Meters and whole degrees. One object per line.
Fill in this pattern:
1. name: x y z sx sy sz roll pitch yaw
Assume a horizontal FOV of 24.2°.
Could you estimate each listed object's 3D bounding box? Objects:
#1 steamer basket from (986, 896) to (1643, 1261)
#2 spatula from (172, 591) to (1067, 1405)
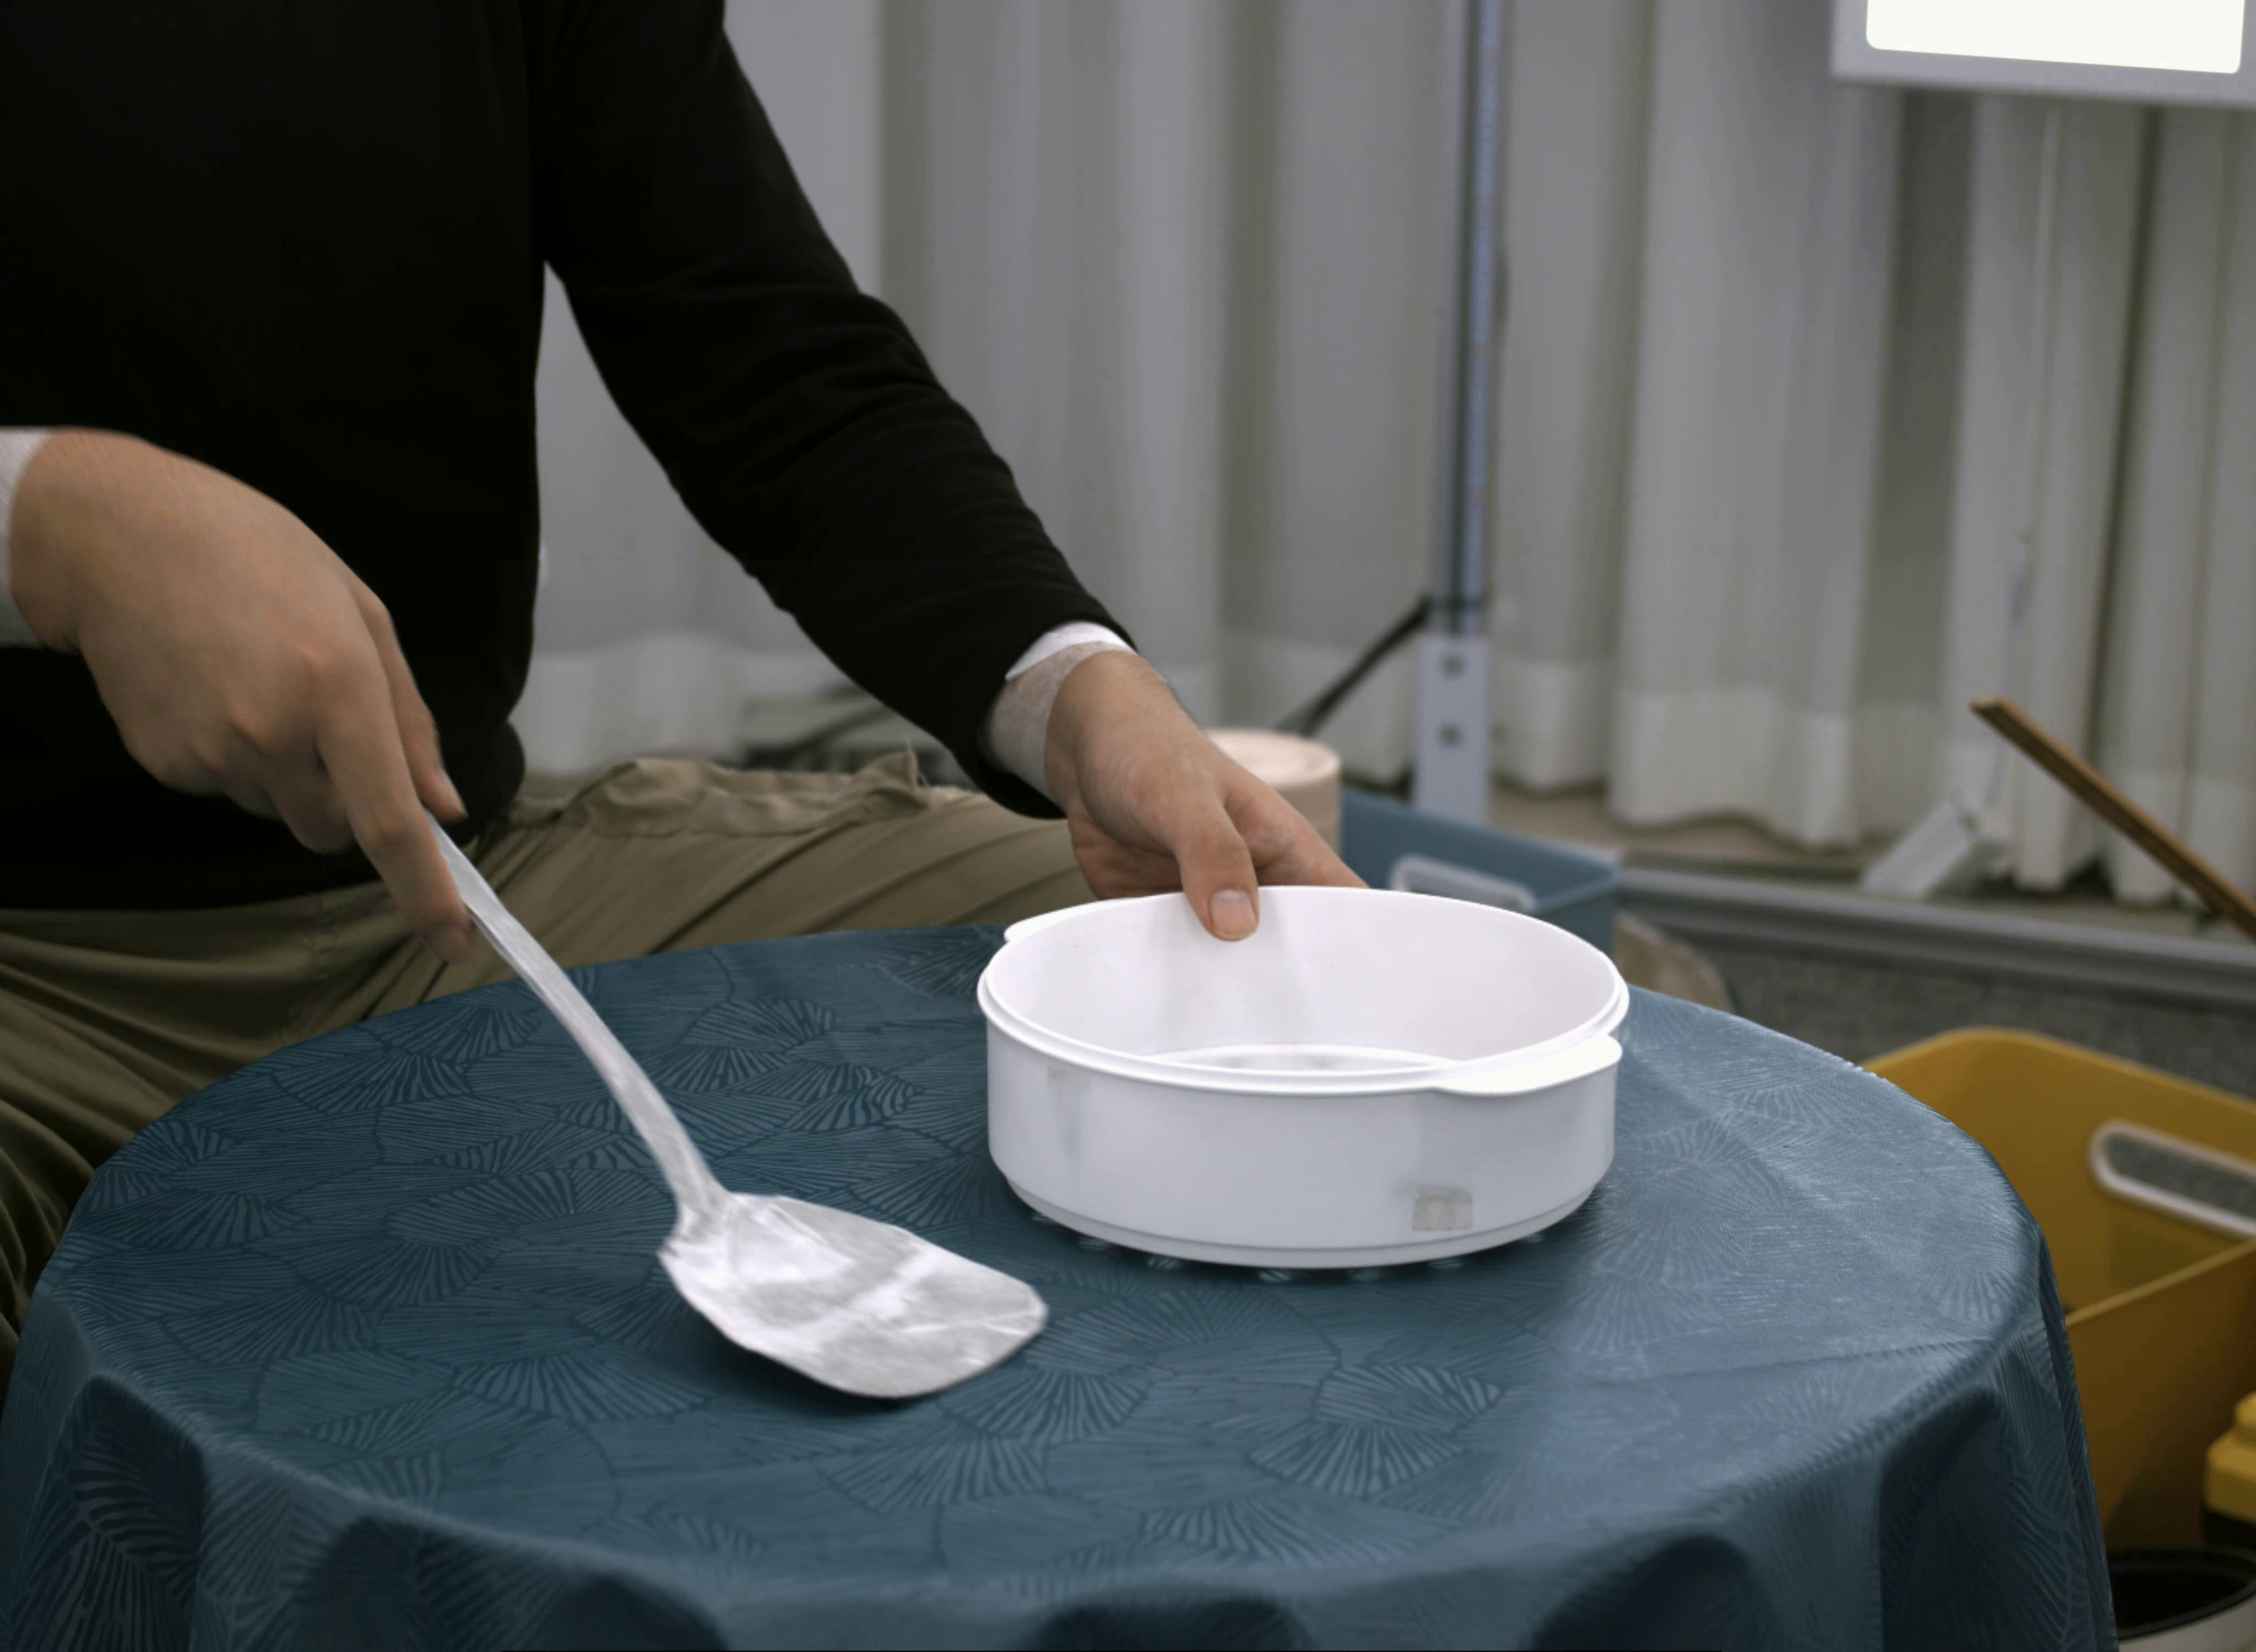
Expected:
1. steamer basket: 0.057 0.077 1.618 0.203 0.070 0.227 -12 18 -40
2. spatula: -0.165 0.042 1.526 0.362 0.045 0.099 47 36 16
